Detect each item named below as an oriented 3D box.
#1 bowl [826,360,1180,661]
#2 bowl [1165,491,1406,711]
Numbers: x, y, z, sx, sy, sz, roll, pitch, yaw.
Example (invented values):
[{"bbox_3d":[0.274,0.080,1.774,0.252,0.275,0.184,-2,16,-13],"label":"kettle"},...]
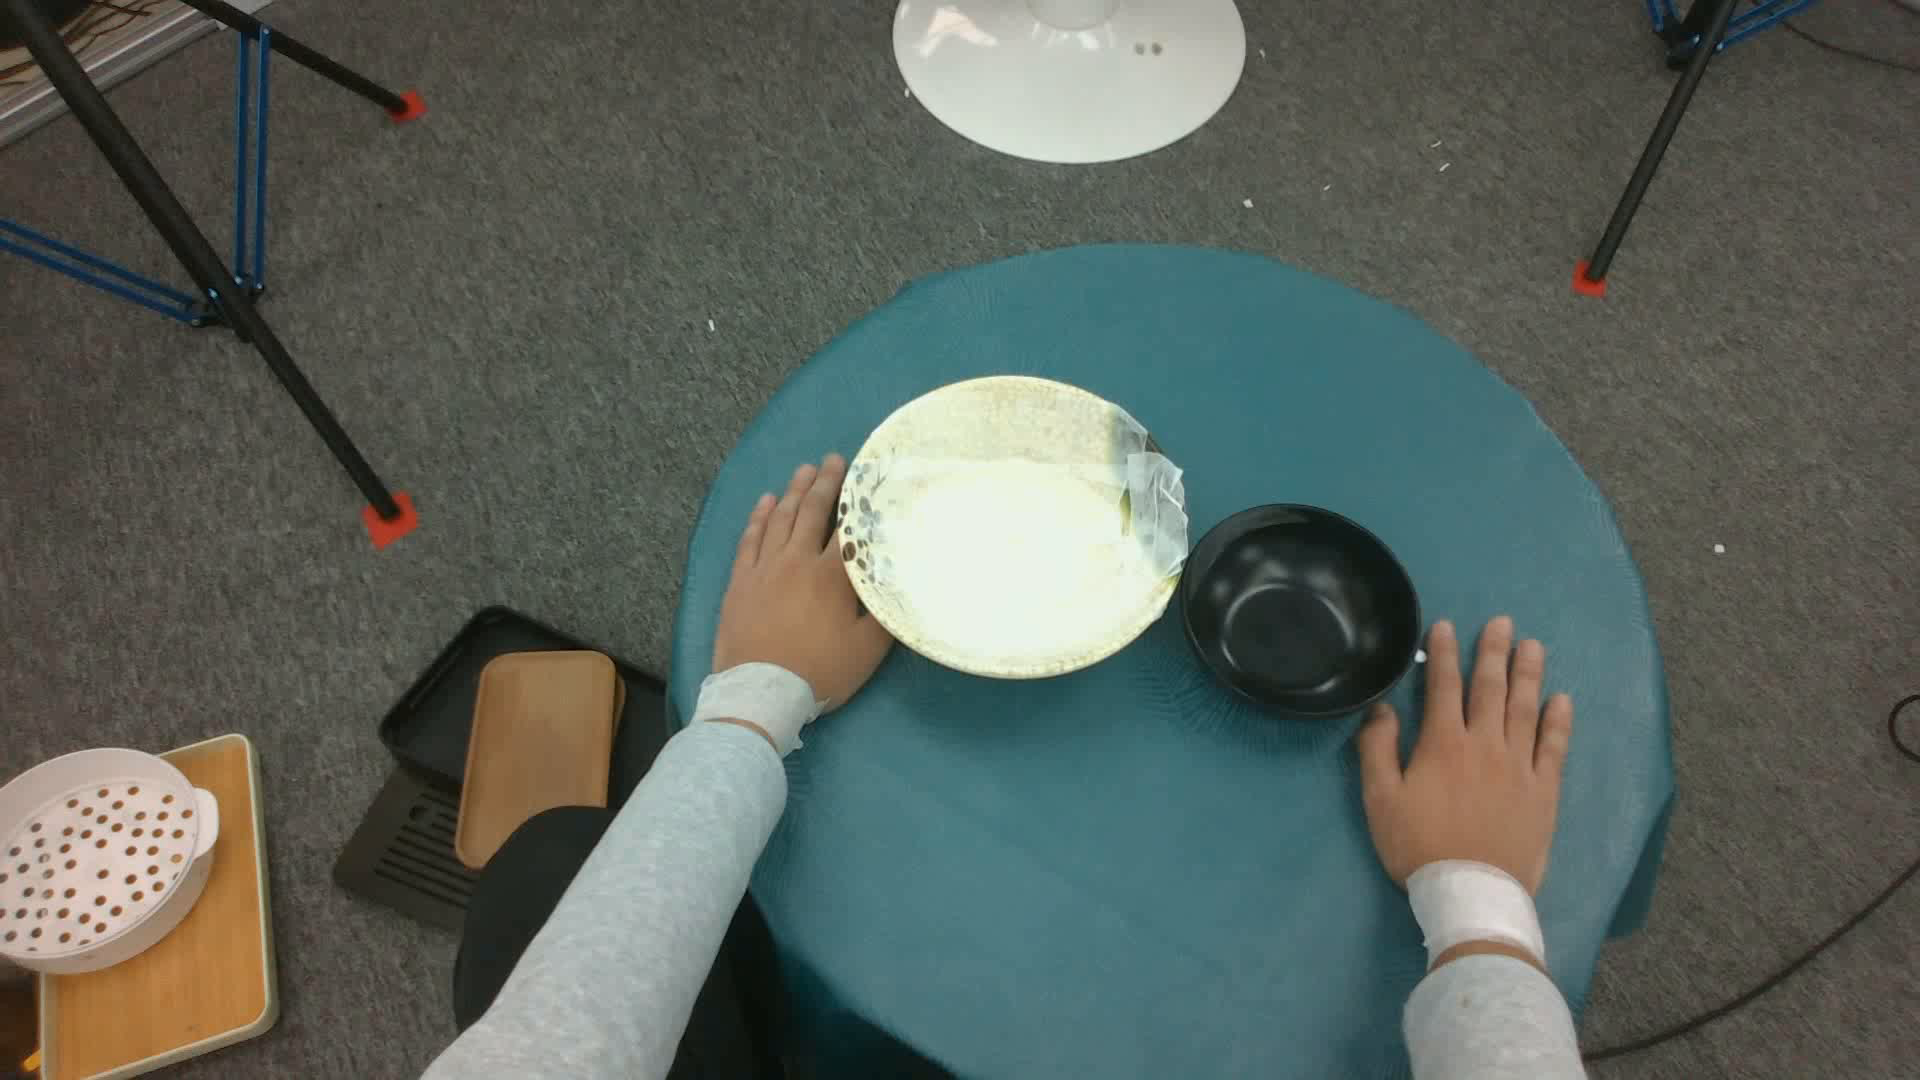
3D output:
[{"bbox_3d":[0.024,-0.005,0.823,0.204,0.077,0.205,0,59,0],"label":"bowl"},{"bbox_3d":[0.189,0.042,0.819,0.140,0.049,0.140,-1,62,1],"label":"bowl"}]
